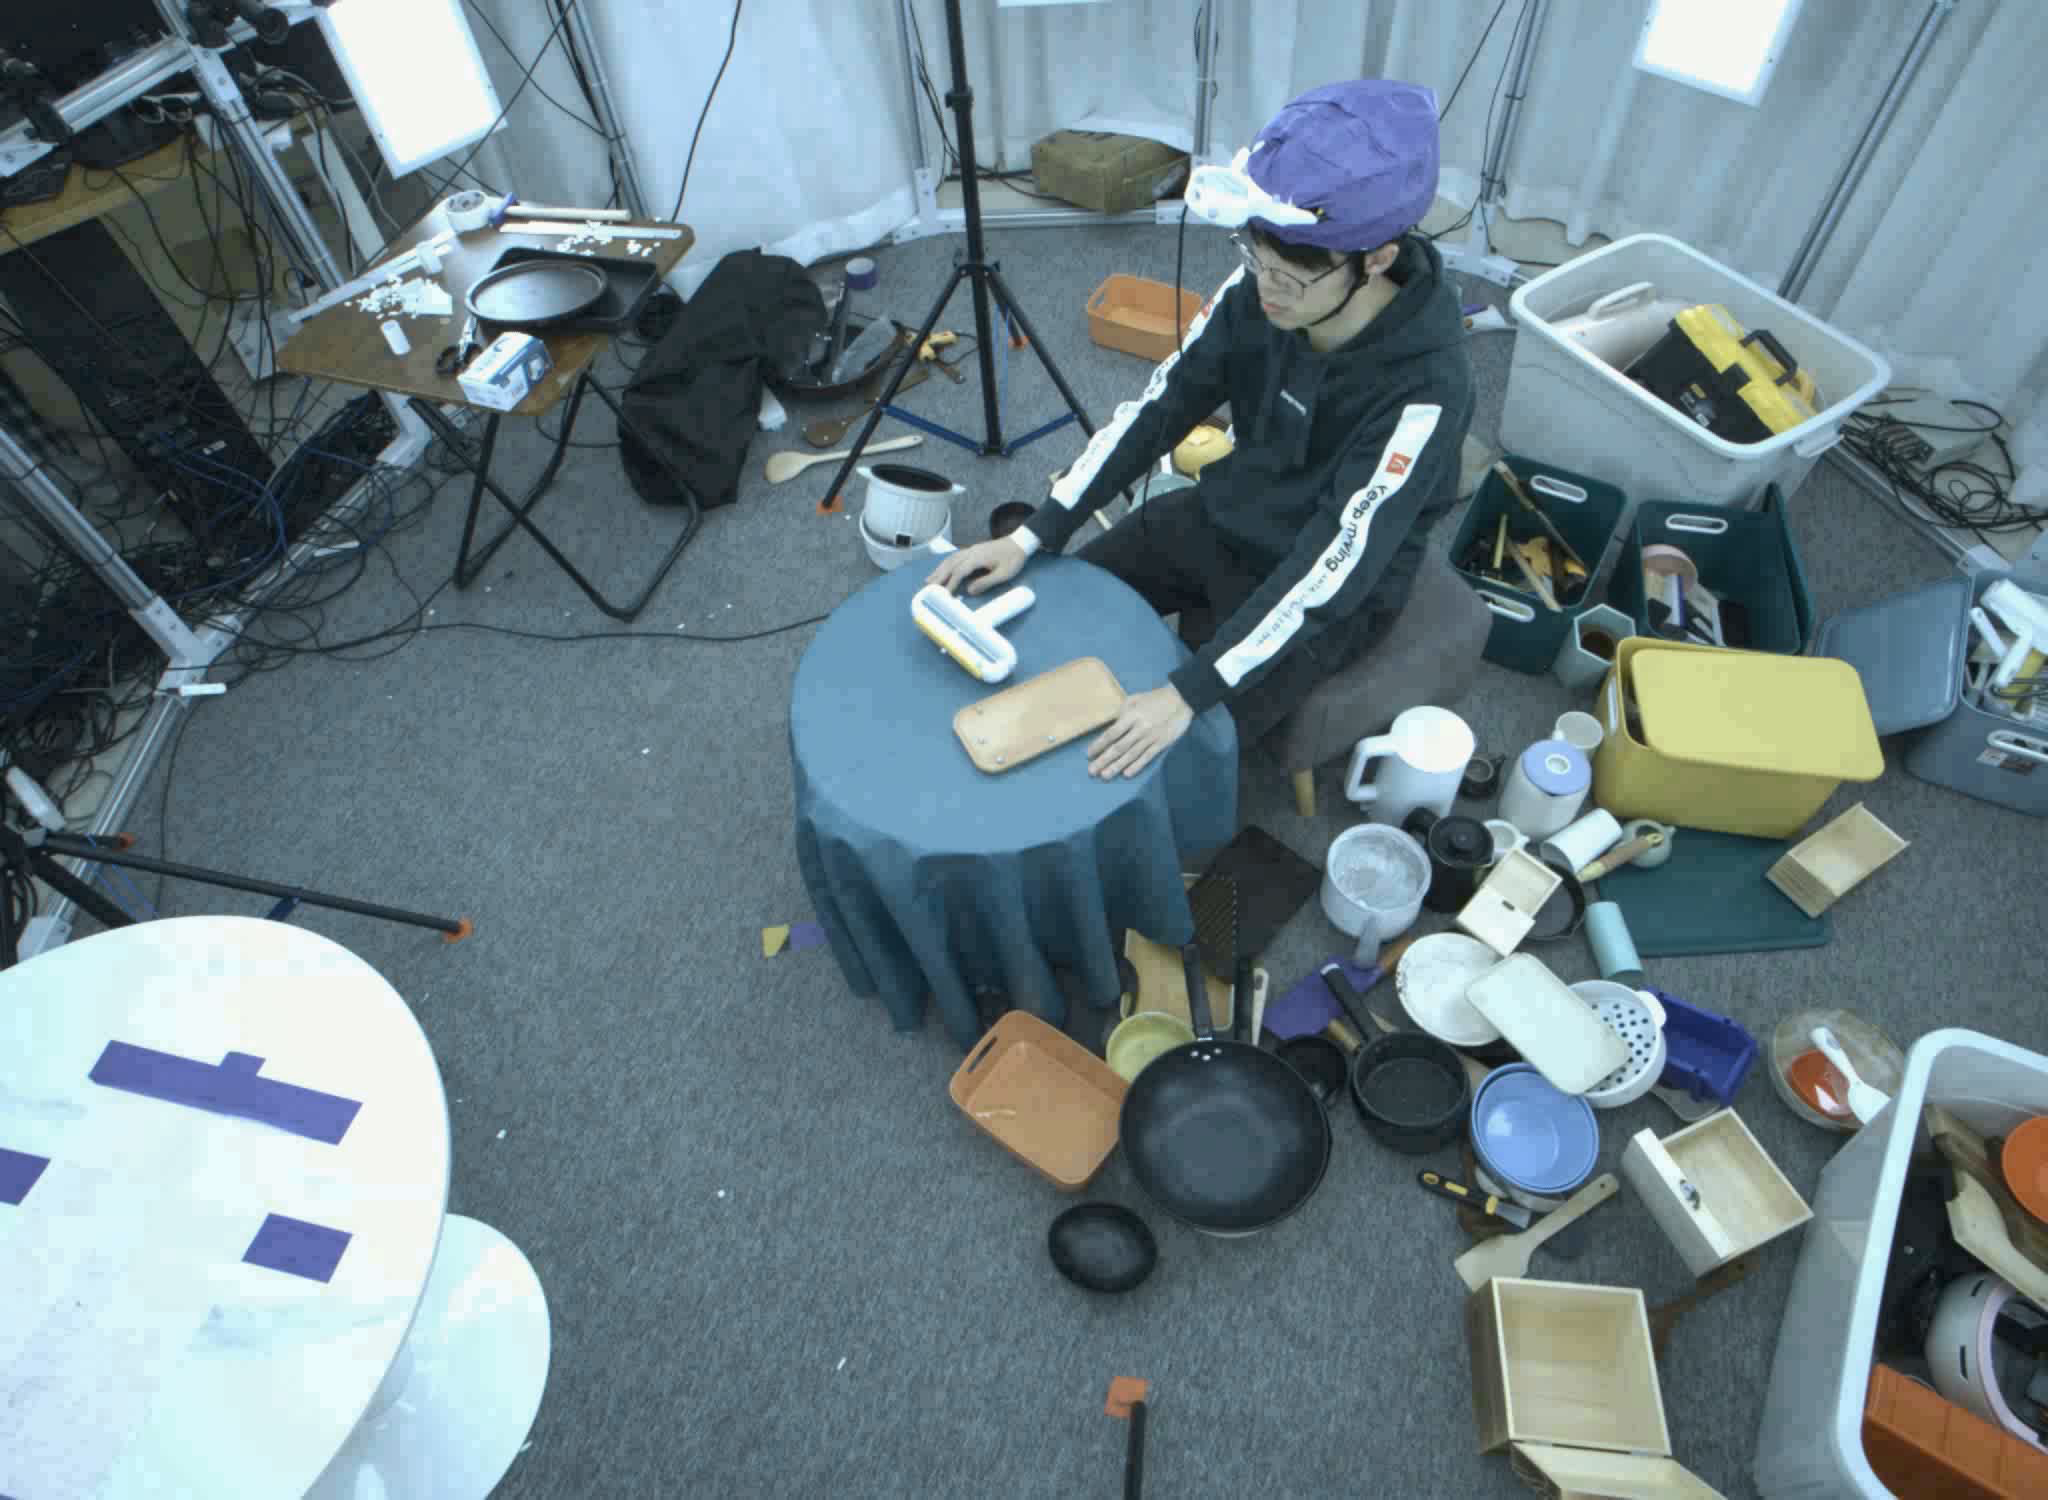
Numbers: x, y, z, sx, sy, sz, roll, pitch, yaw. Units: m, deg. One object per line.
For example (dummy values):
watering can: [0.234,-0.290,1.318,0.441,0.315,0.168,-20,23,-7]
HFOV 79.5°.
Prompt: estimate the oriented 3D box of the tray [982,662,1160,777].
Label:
tray: [0.069,-0.046,1.803,0.252,0.023,0.128,-21,59,-13]

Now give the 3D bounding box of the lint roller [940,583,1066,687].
lint roller: [-0.009,-0.192,1.901,0.195,0.074,0.190,-27,64,-34]
